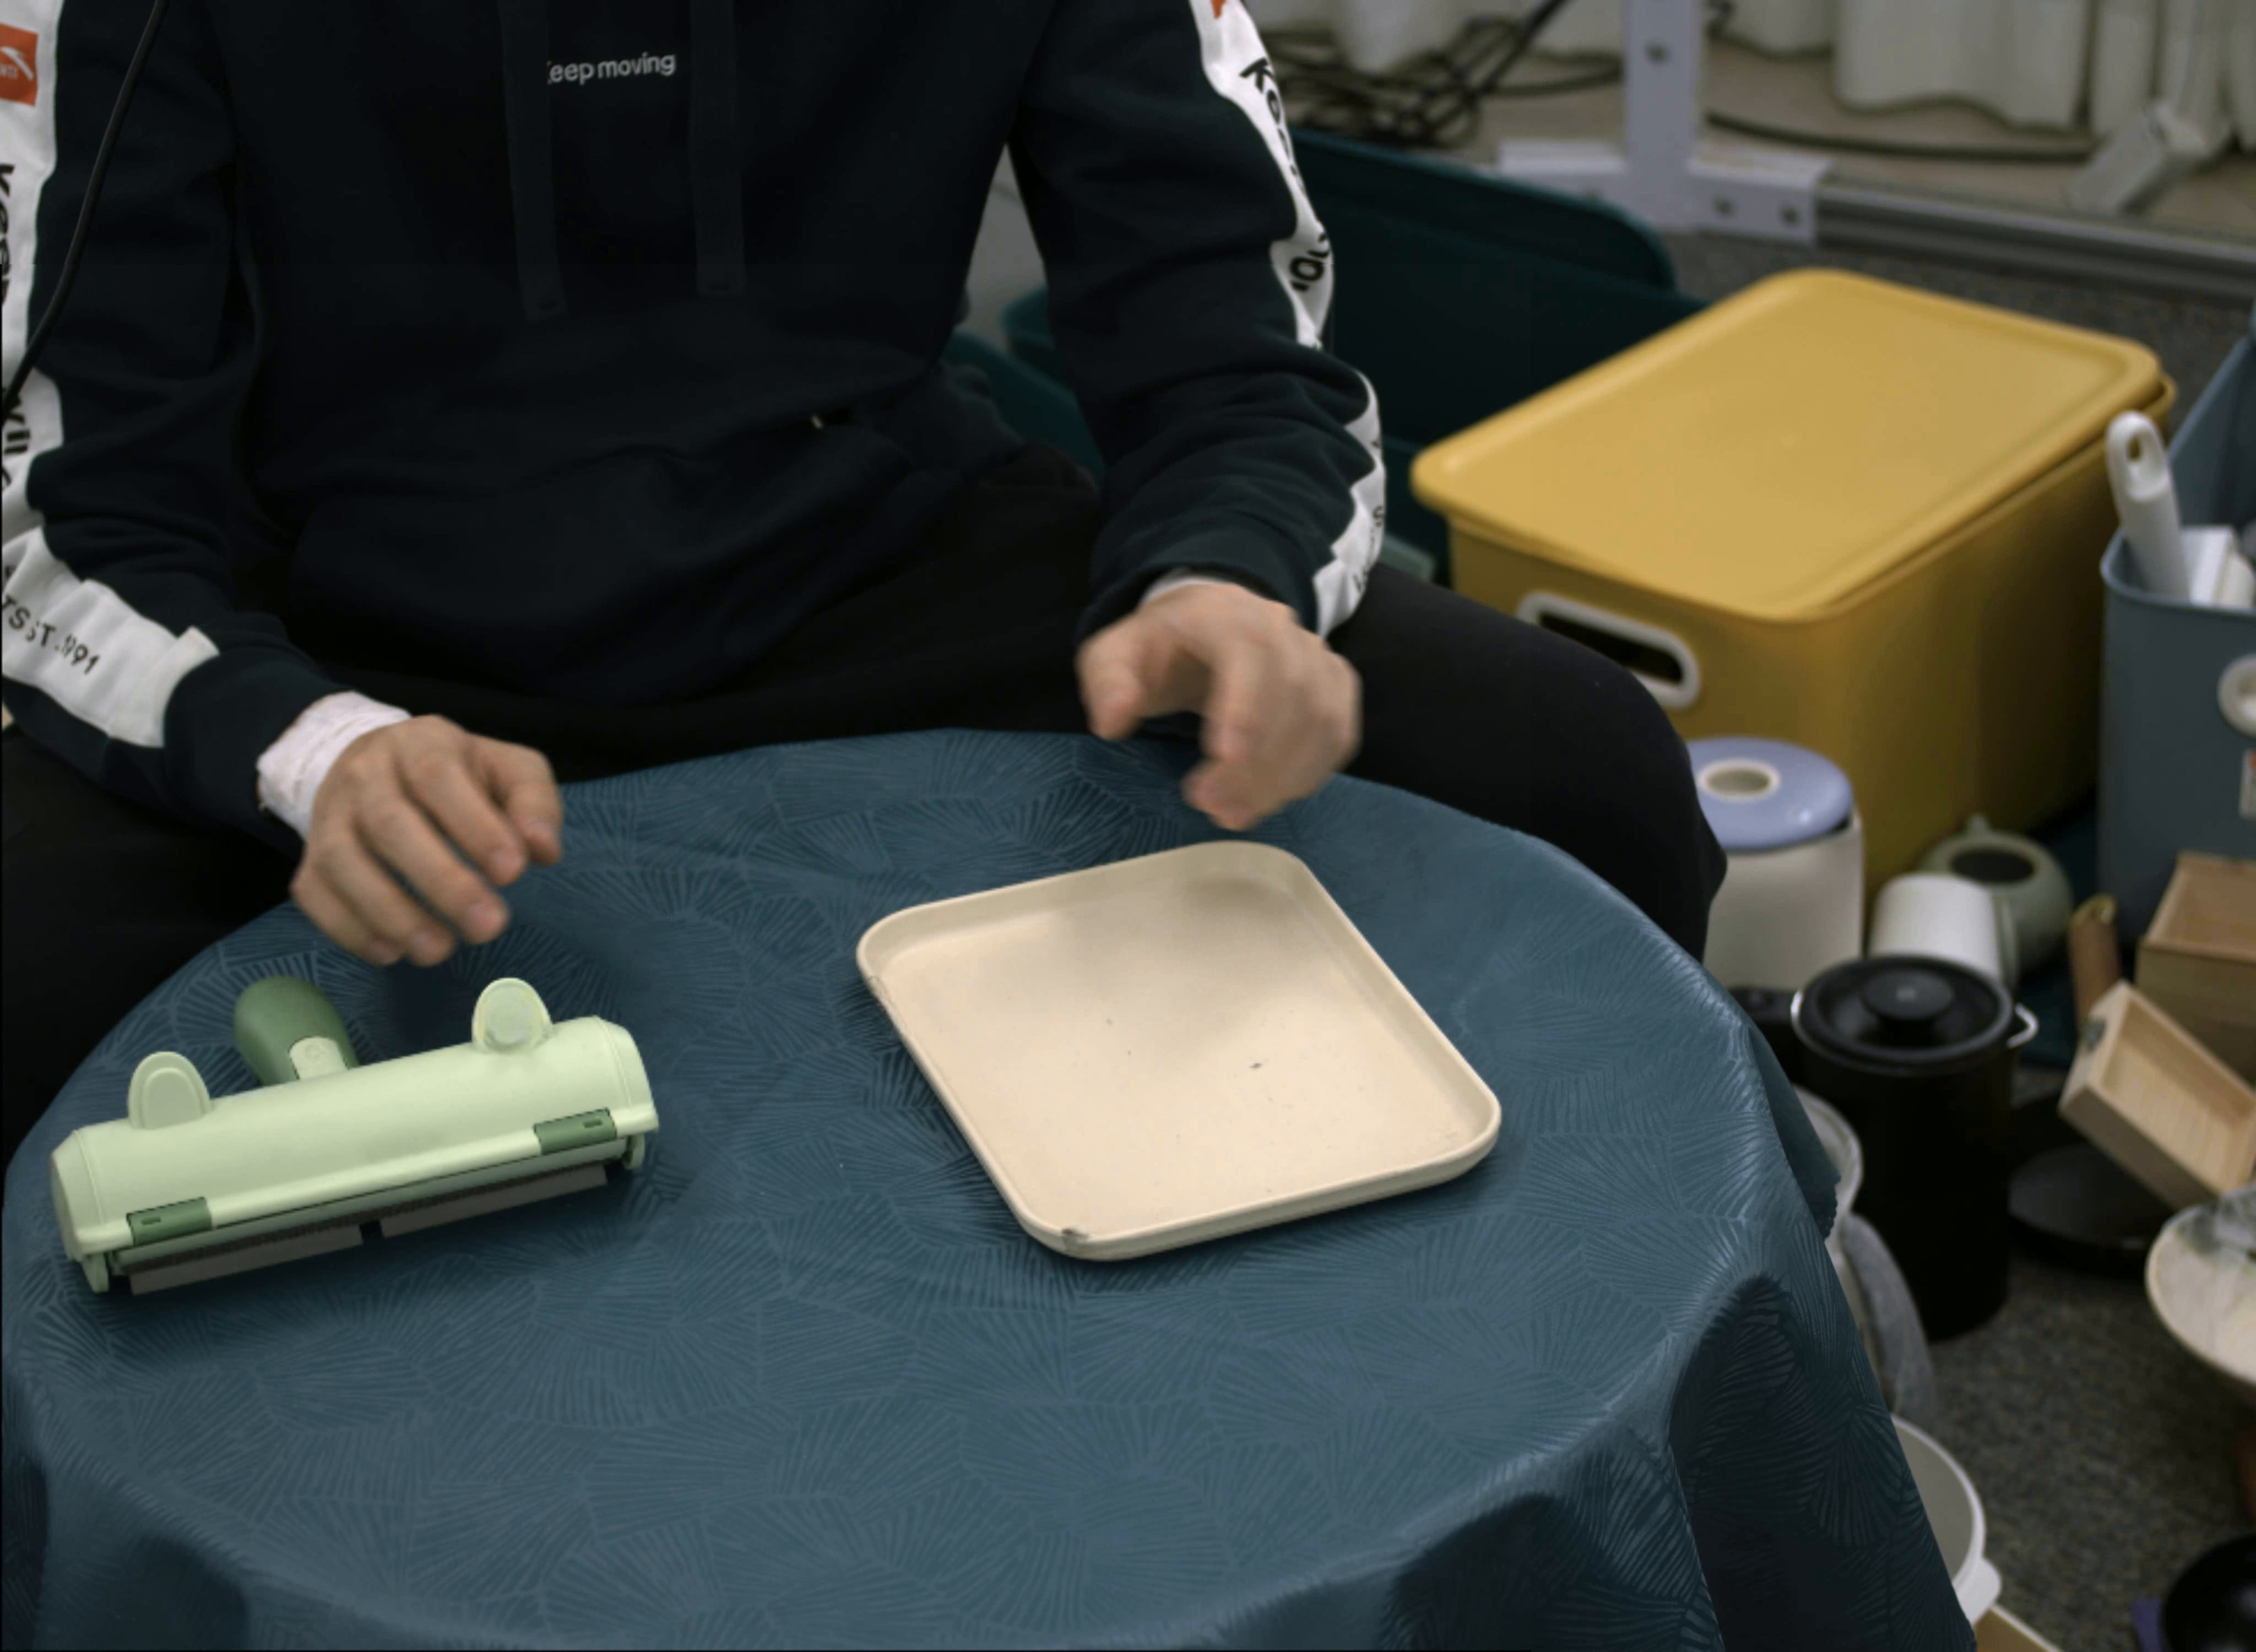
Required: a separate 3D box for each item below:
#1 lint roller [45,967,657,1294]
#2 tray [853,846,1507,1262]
[{"bbox_3d":[-0.274,0.076,1.893,0.199,0.081,0.185,-12,33,-17],"label":"lint roller"},{"bbox_3d":[0.015,0.077,1.926,0.171,0.017,0.242,-11,29,-17],"label":"tray"}]
